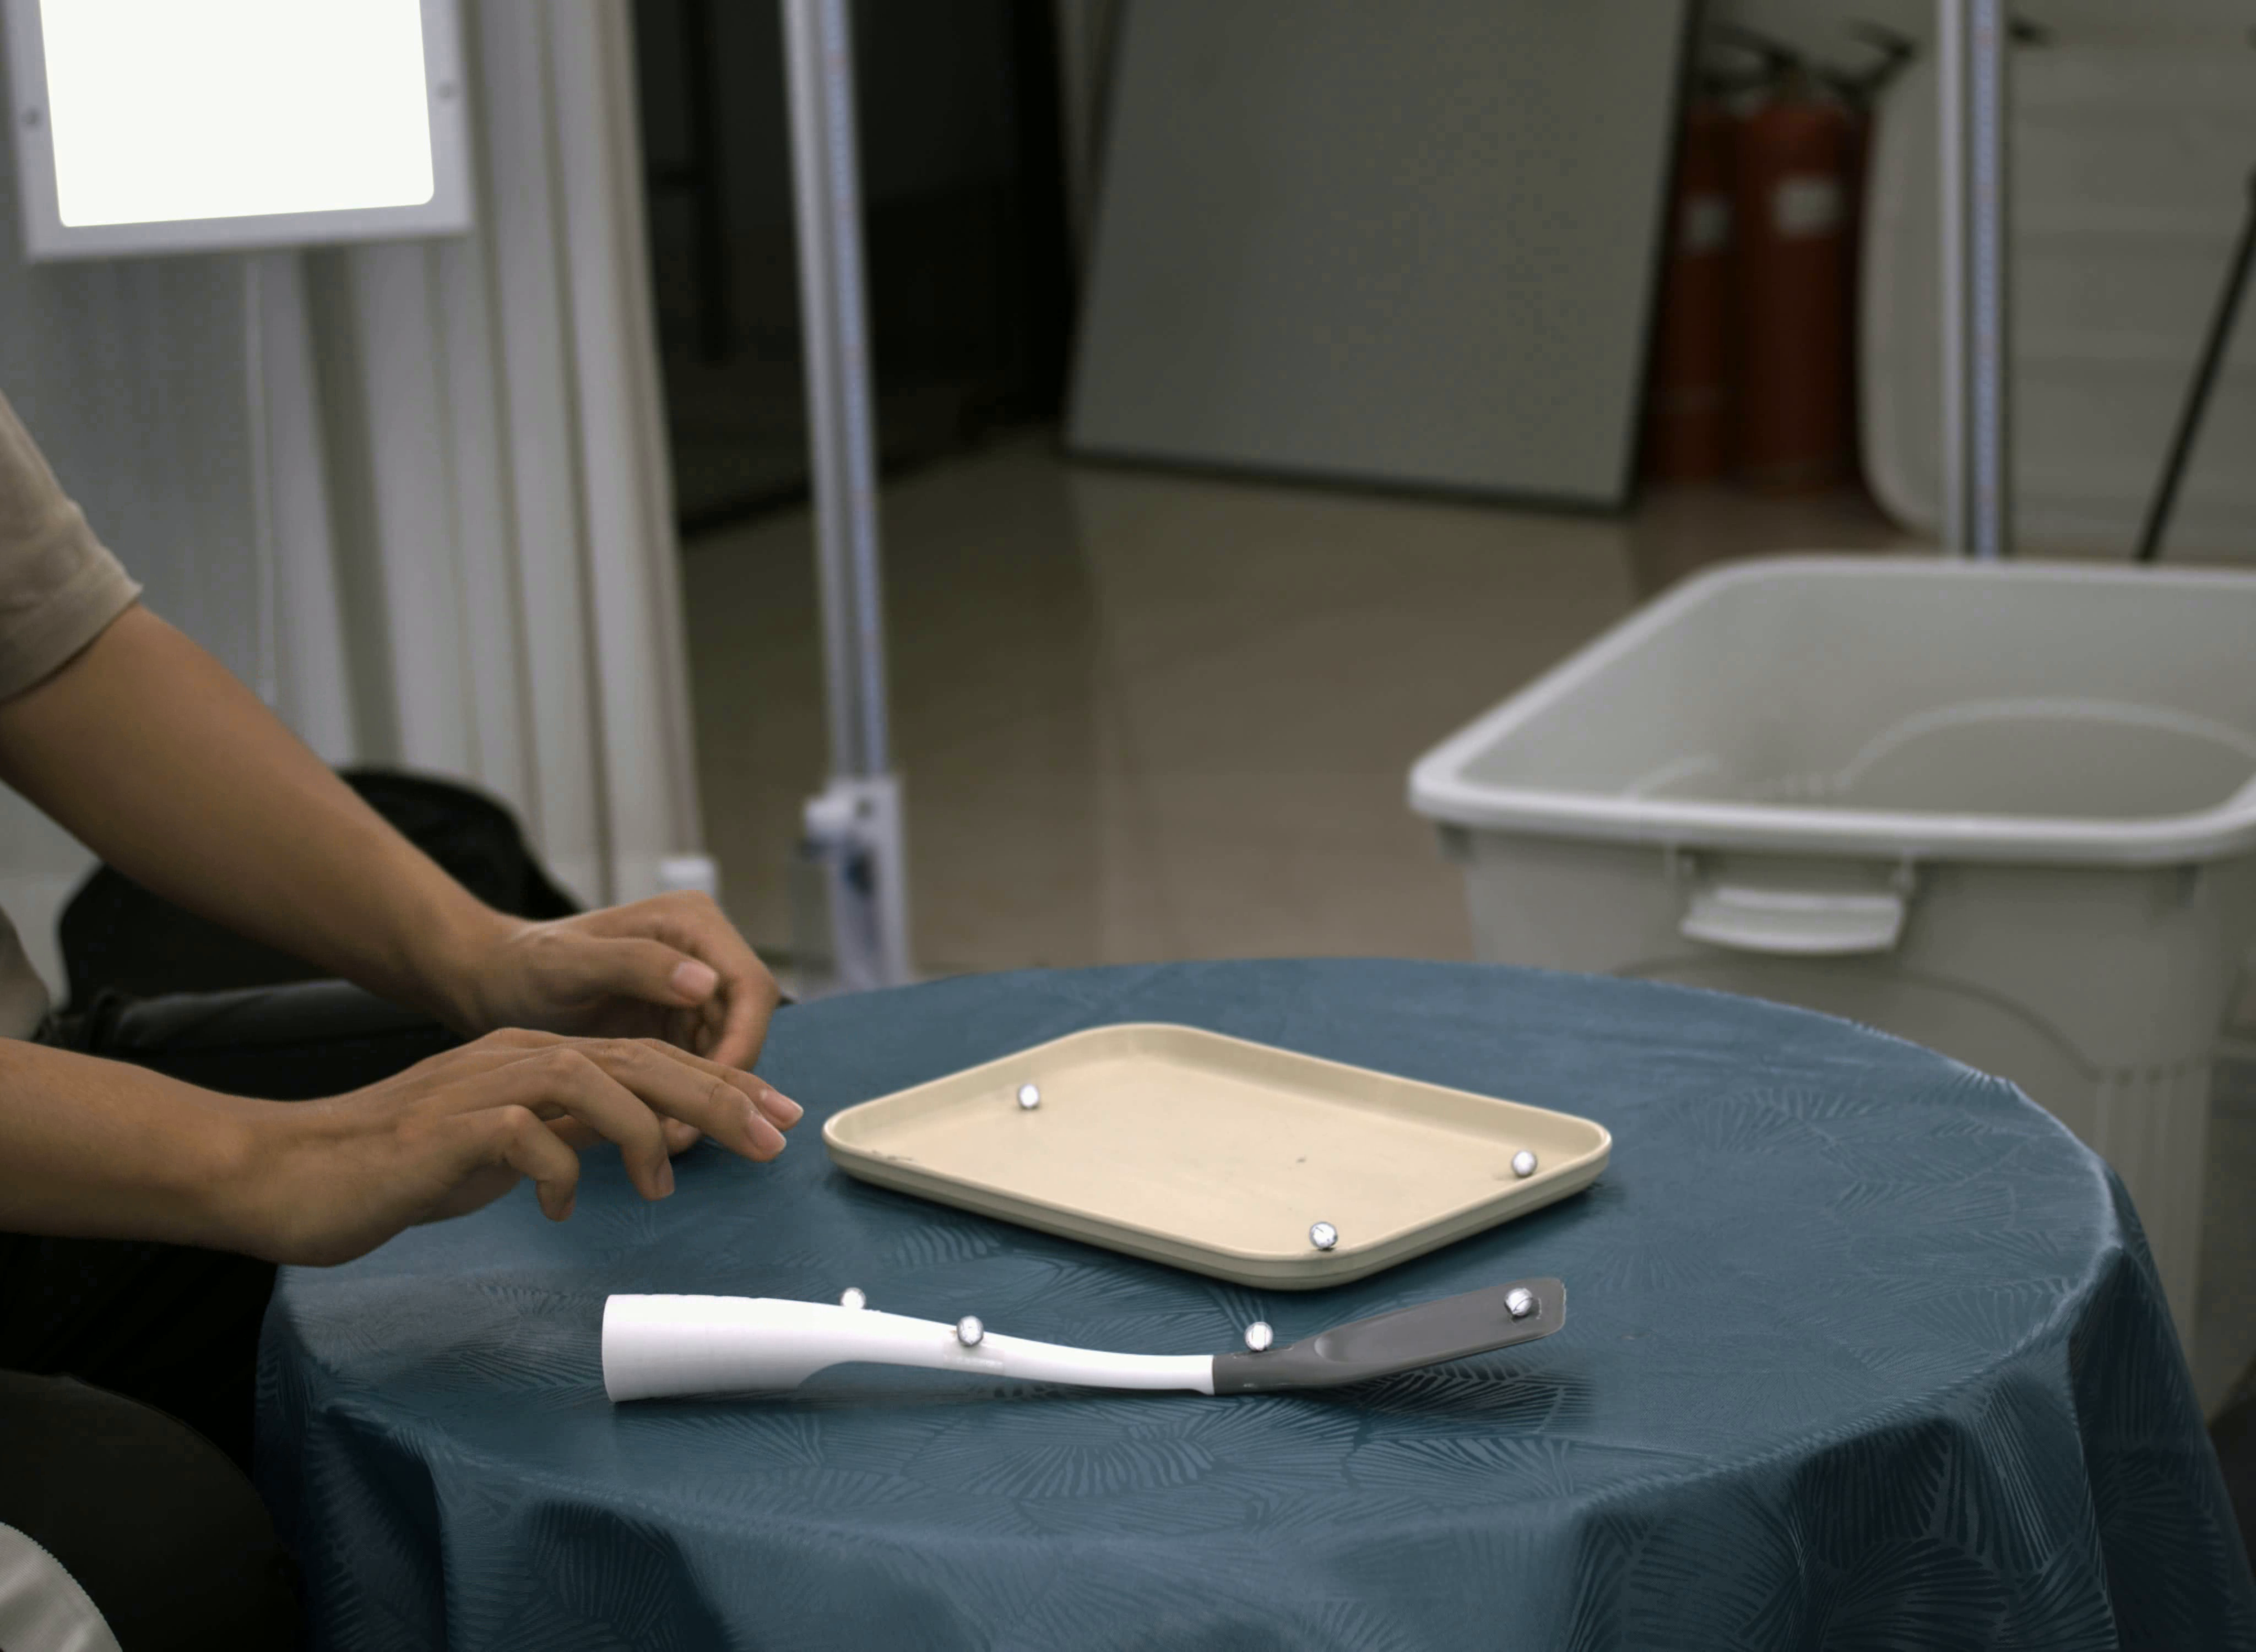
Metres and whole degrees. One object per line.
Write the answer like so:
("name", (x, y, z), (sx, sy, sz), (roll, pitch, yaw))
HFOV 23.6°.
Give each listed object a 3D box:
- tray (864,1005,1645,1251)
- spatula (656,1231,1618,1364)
("tray", (0.041, 0.099, 1.790), (0.167, 0.018, 0.242), (-15, 17, -42))
("spatula", (0.003, 0.140, 1.593), (0.285, 0.032, 0.058), (-2, 10, 8))
